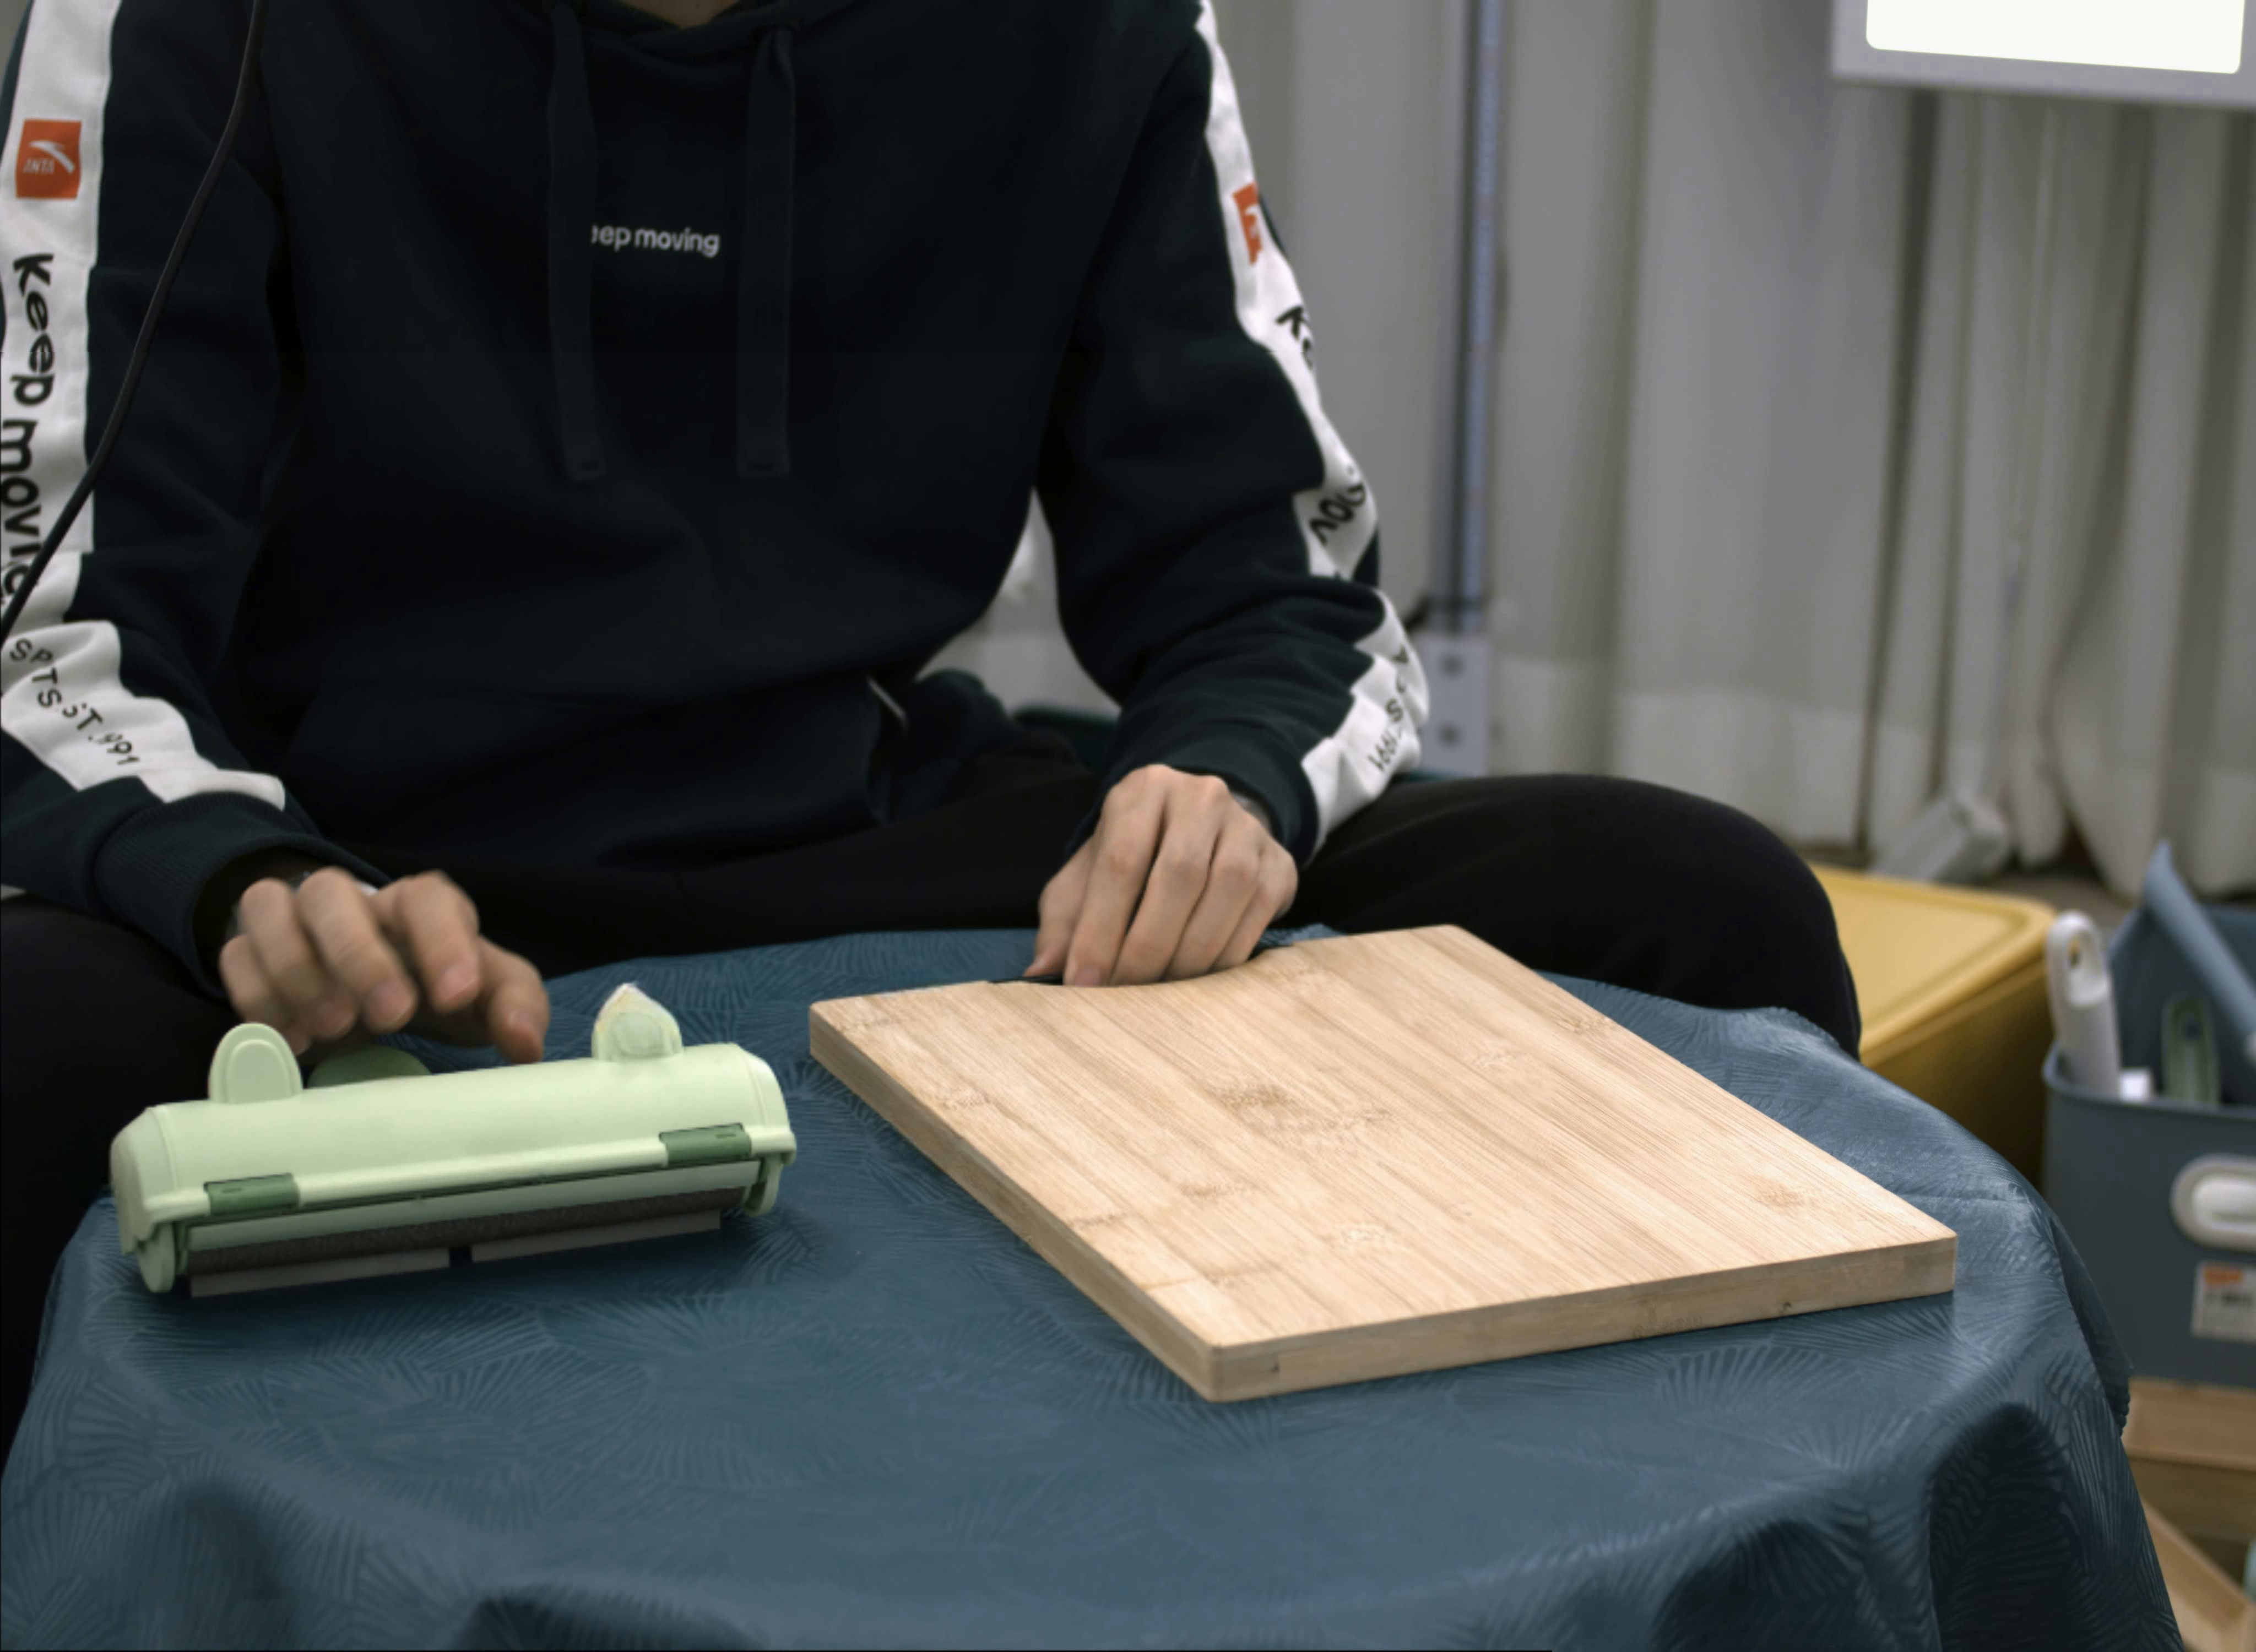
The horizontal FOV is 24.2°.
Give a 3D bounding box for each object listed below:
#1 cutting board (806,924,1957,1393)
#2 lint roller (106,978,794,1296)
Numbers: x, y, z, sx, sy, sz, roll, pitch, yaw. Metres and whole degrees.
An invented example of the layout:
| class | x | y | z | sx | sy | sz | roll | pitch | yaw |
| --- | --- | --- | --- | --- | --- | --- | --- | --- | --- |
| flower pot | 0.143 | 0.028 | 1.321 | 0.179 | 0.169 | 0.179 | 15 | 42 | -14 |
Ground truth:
| class | x | y | z | sx | sy | sz | roll | pitch | yaw |
| --- | --- | --- | --- | --- | --- | --- | --- | --- | --- |
| cutting board | 0.067 | 0.097 | 1.647 | 0.251 | 0.024 | 0.344 | -6 | 17 | -23 |
| lint roller | -0.218 | 0.076 | 1.593 | 0.199 | 0.083 | 0.181 | -6 | 20 | -21 |
